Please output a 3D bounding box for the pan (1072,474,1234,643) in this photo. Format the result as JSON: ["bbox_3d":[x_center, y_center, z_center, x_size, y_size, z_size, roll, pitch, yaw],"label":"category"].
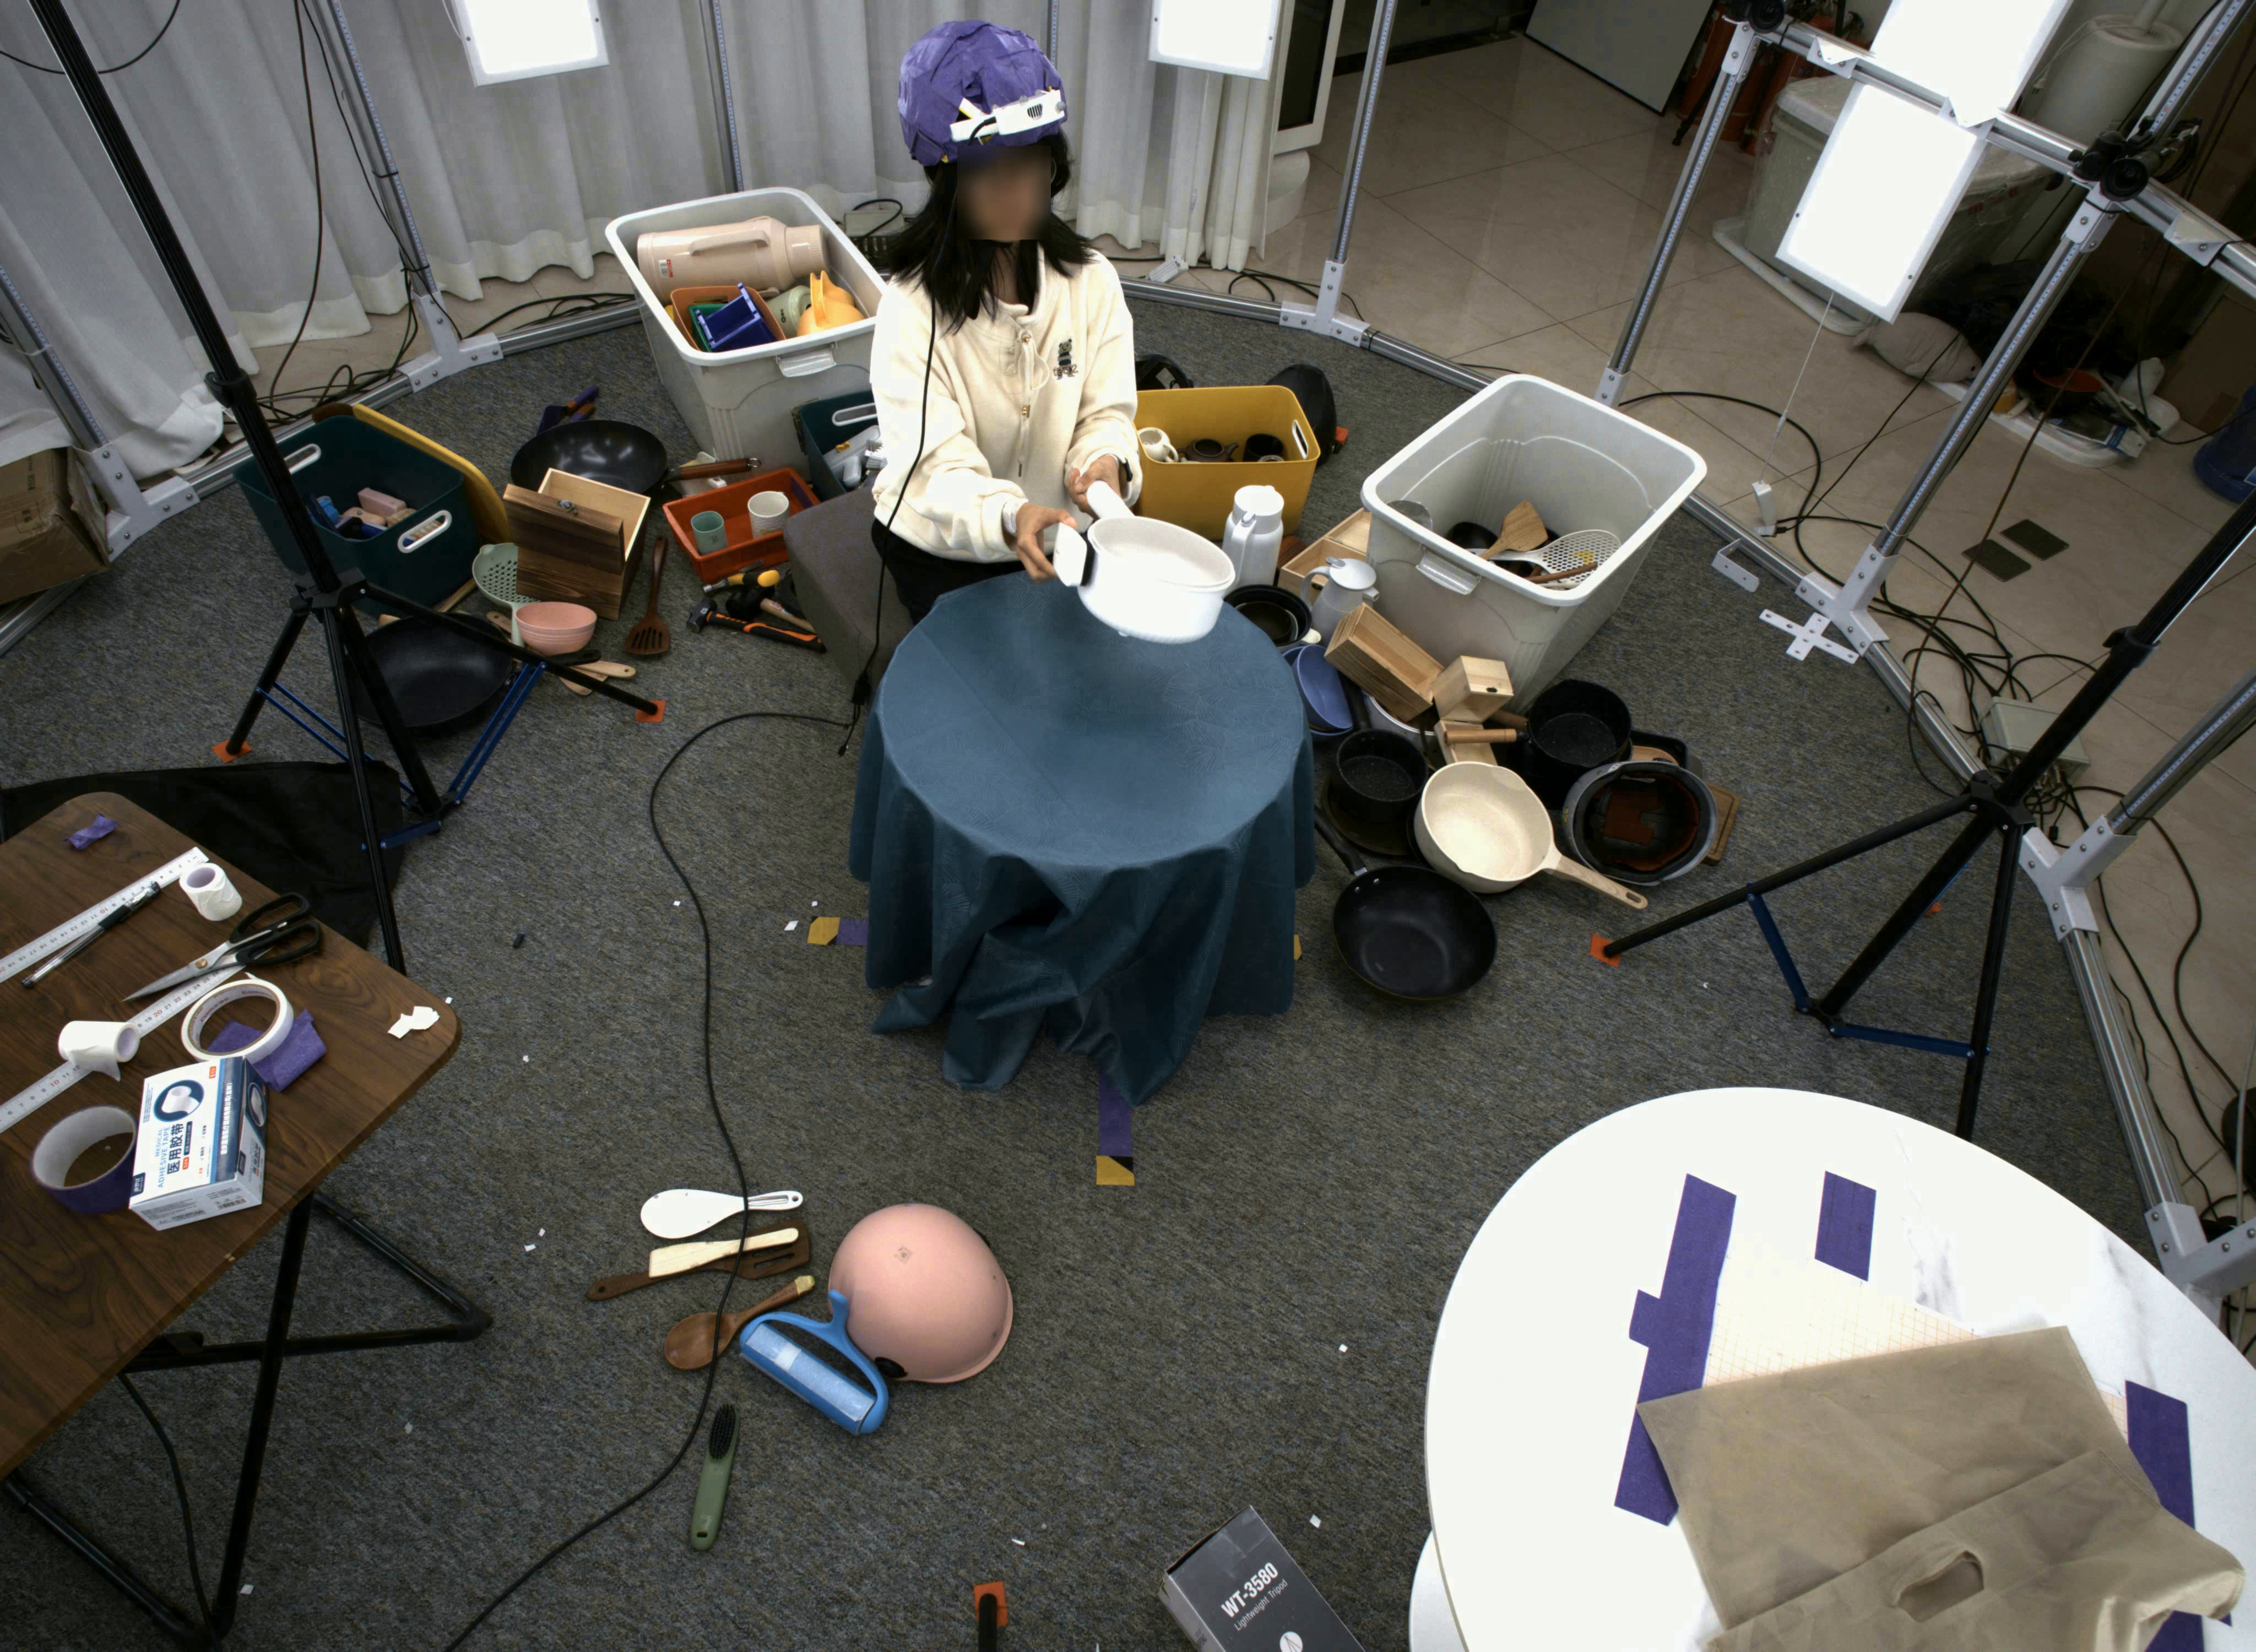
[{"bbox_3d":[0.000,-0.367,1.759,0.200,0.100,0.363,-1,35,-29],"label":"pan"}]

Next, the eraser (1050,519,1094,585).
[{"bbox_3d":[-0.077,-0.360,1.687,0.034,0.062,0.134,7,24,-18],"label":"eraser"}]
